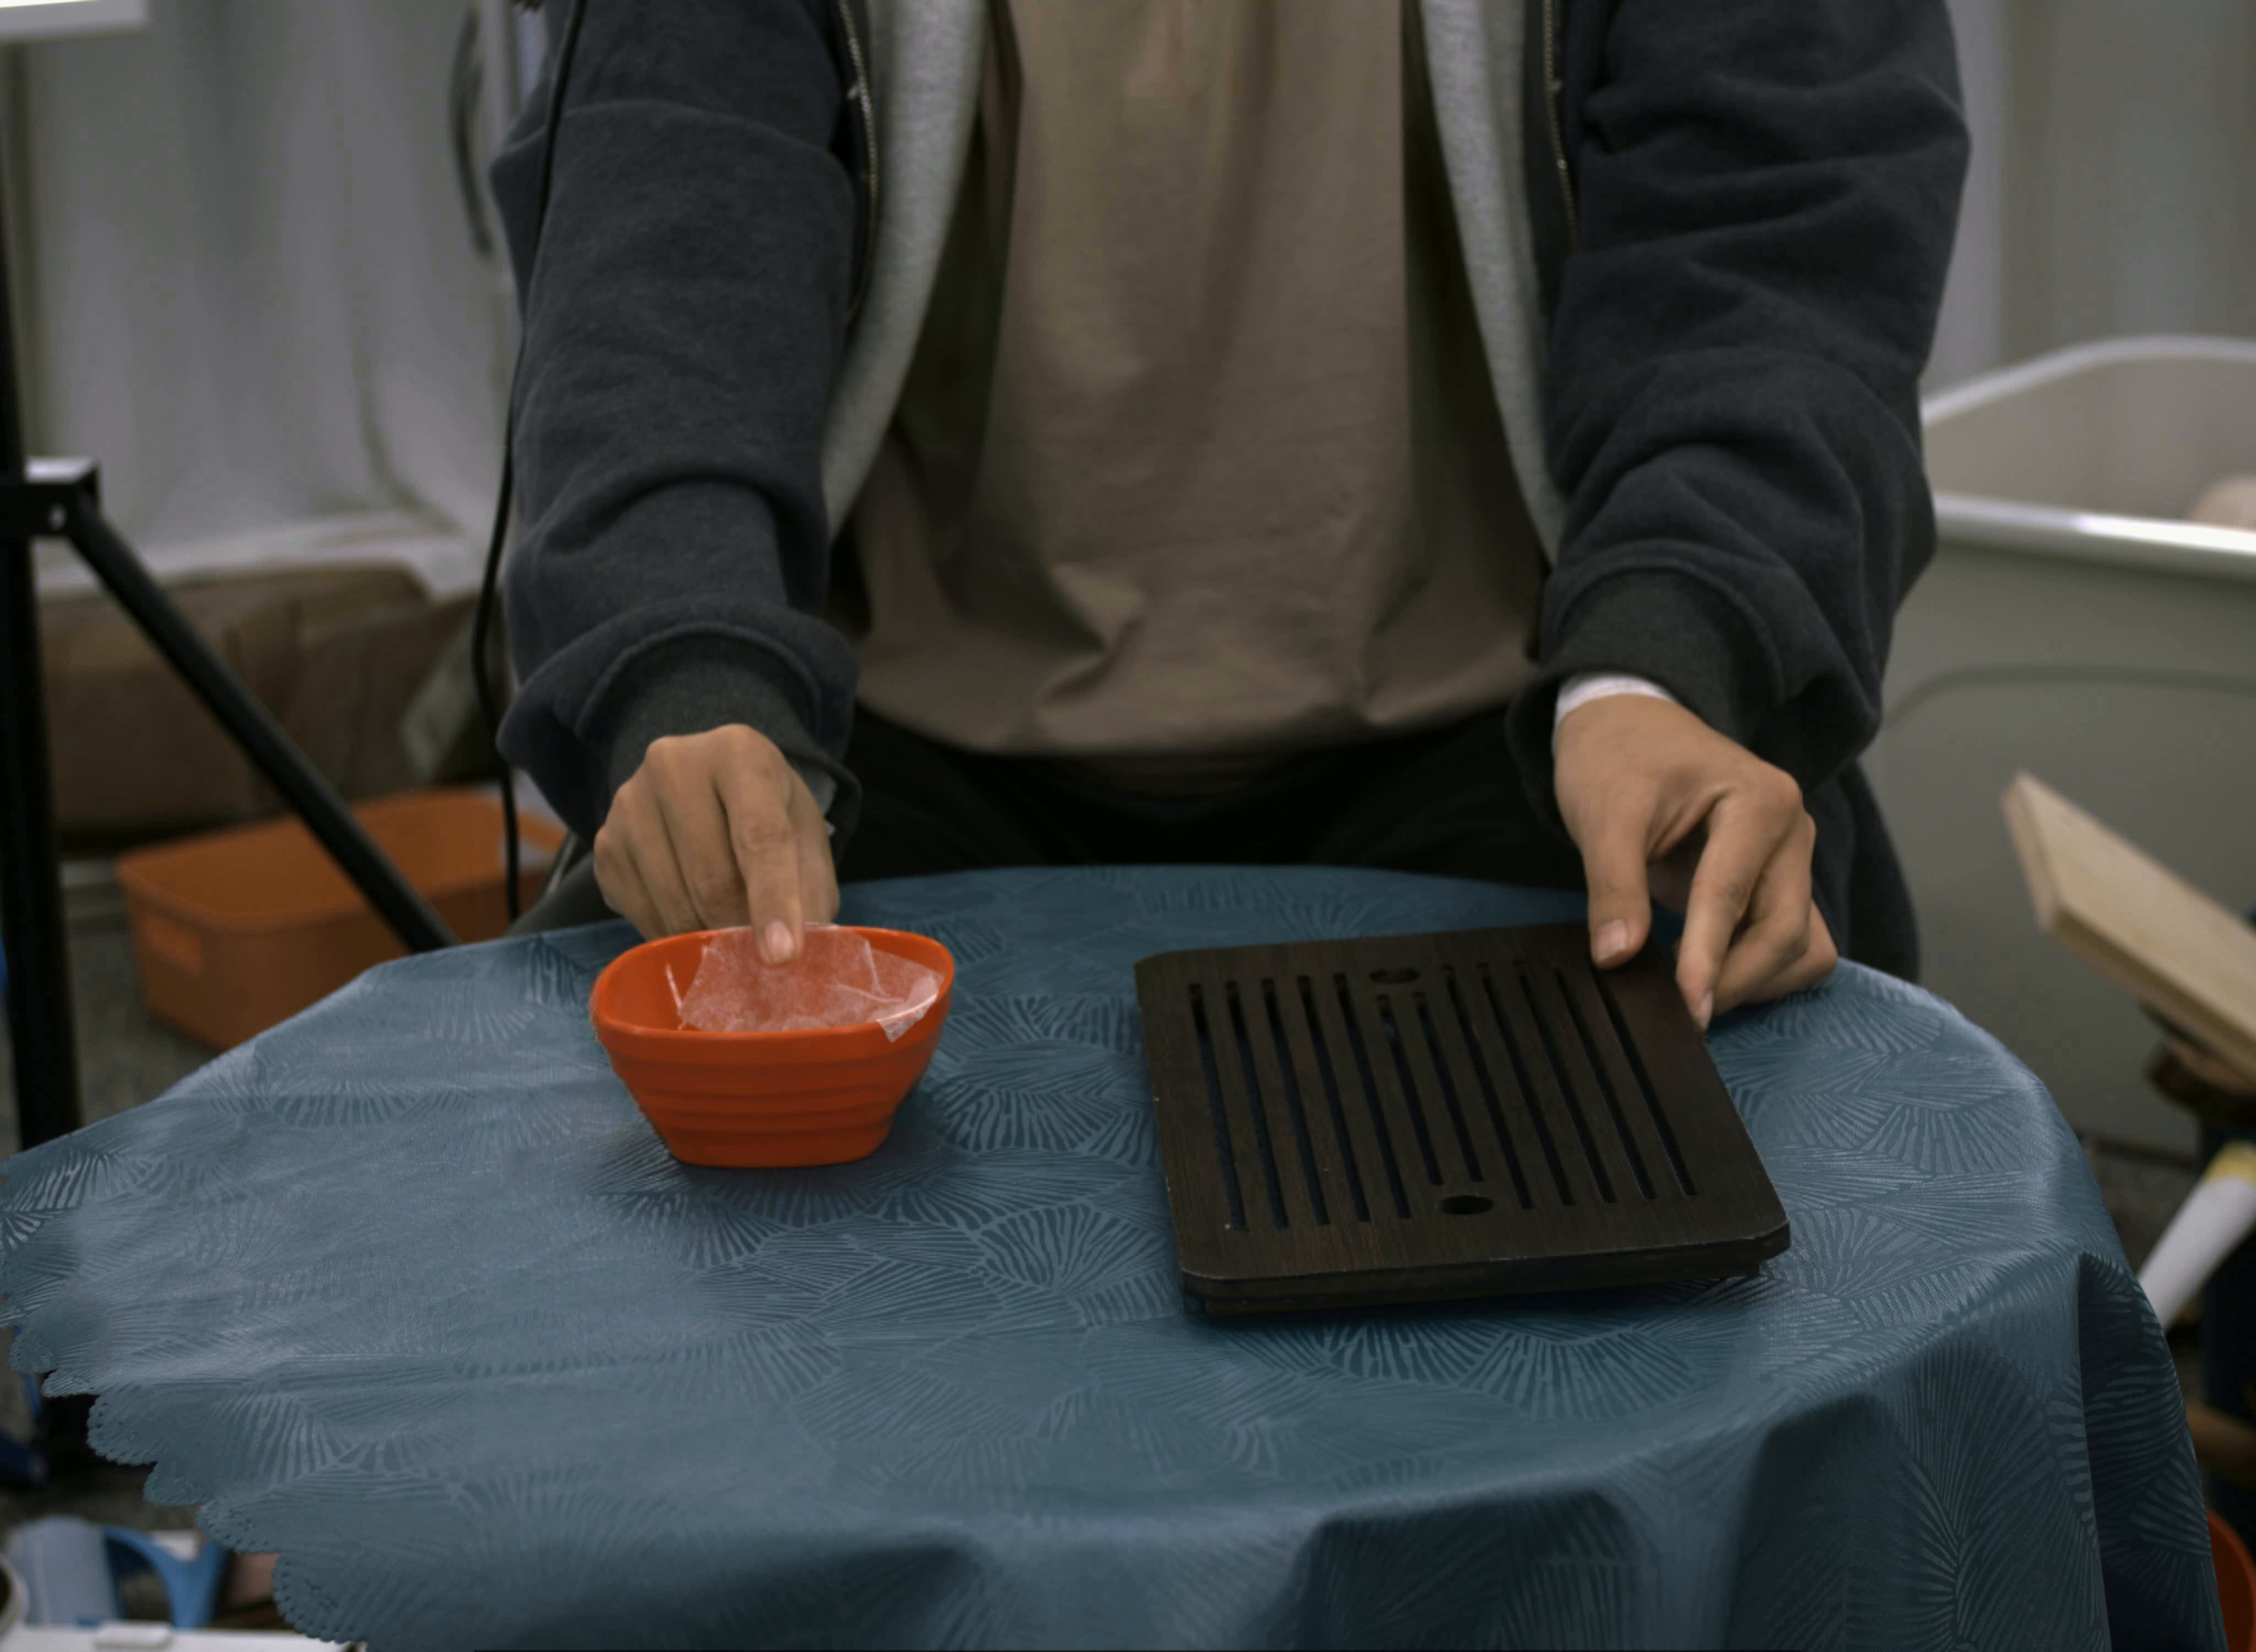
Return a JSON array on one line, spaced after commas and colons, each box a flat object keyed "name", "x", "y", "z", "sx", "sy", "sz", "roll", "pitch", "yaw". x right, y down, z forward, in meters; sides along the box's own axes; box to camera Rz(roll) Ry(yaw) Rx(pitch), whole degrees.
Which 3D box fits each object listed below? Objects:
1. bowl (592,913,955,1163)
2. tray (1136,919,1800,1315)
[{"name": "bowl", "x": -0.106, "y": 0.067, "z": 1.622, "sx": 0.118, "sy": 0.051, "sz": 0.119, "roll": -4, "pitch": 17, "yaw": 0}, {"name": "tray", "x": 0.094, "y": 0.084, "z": 1.588, "sx": 0.169, "sy": 0.018, "sz": 0.307, "roll": -5, "pitch": 16, "yaw": -1}]
